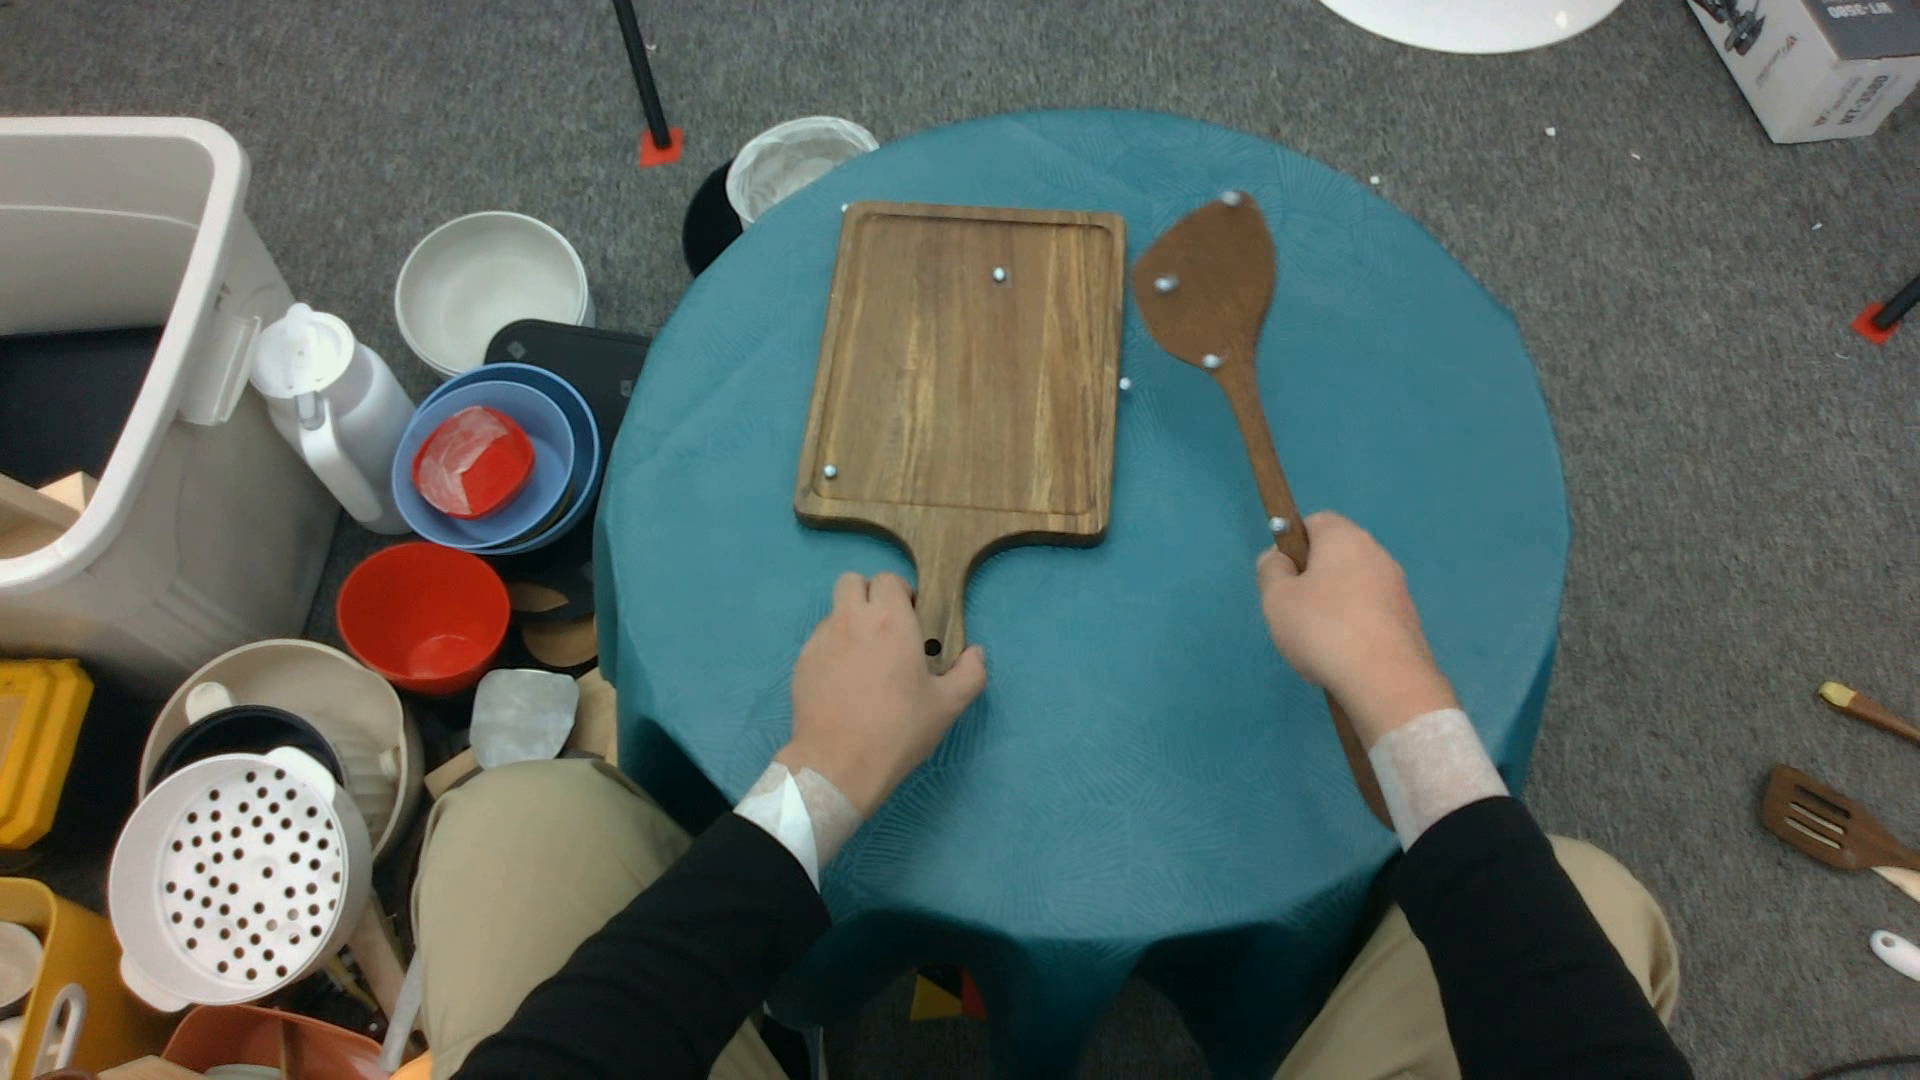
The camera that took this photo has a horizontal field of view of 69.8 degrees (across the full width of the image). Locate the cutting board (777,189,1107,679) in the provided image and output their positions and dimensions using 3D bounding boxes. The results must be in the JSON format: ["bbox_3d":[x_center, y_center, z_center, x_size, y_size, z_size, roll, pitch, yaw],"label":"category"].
[{"bbox_3d":[-0.010,-0.080,0.873,0.201,0.023,0.353,3,63,3],"label":"cutting board"}]

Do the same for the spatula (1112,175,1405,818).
[{"bbox_3d":[0.169,-0.034,0.762,0.095,0.016,0.387,-33,60,35],"label":"spatula"}]
